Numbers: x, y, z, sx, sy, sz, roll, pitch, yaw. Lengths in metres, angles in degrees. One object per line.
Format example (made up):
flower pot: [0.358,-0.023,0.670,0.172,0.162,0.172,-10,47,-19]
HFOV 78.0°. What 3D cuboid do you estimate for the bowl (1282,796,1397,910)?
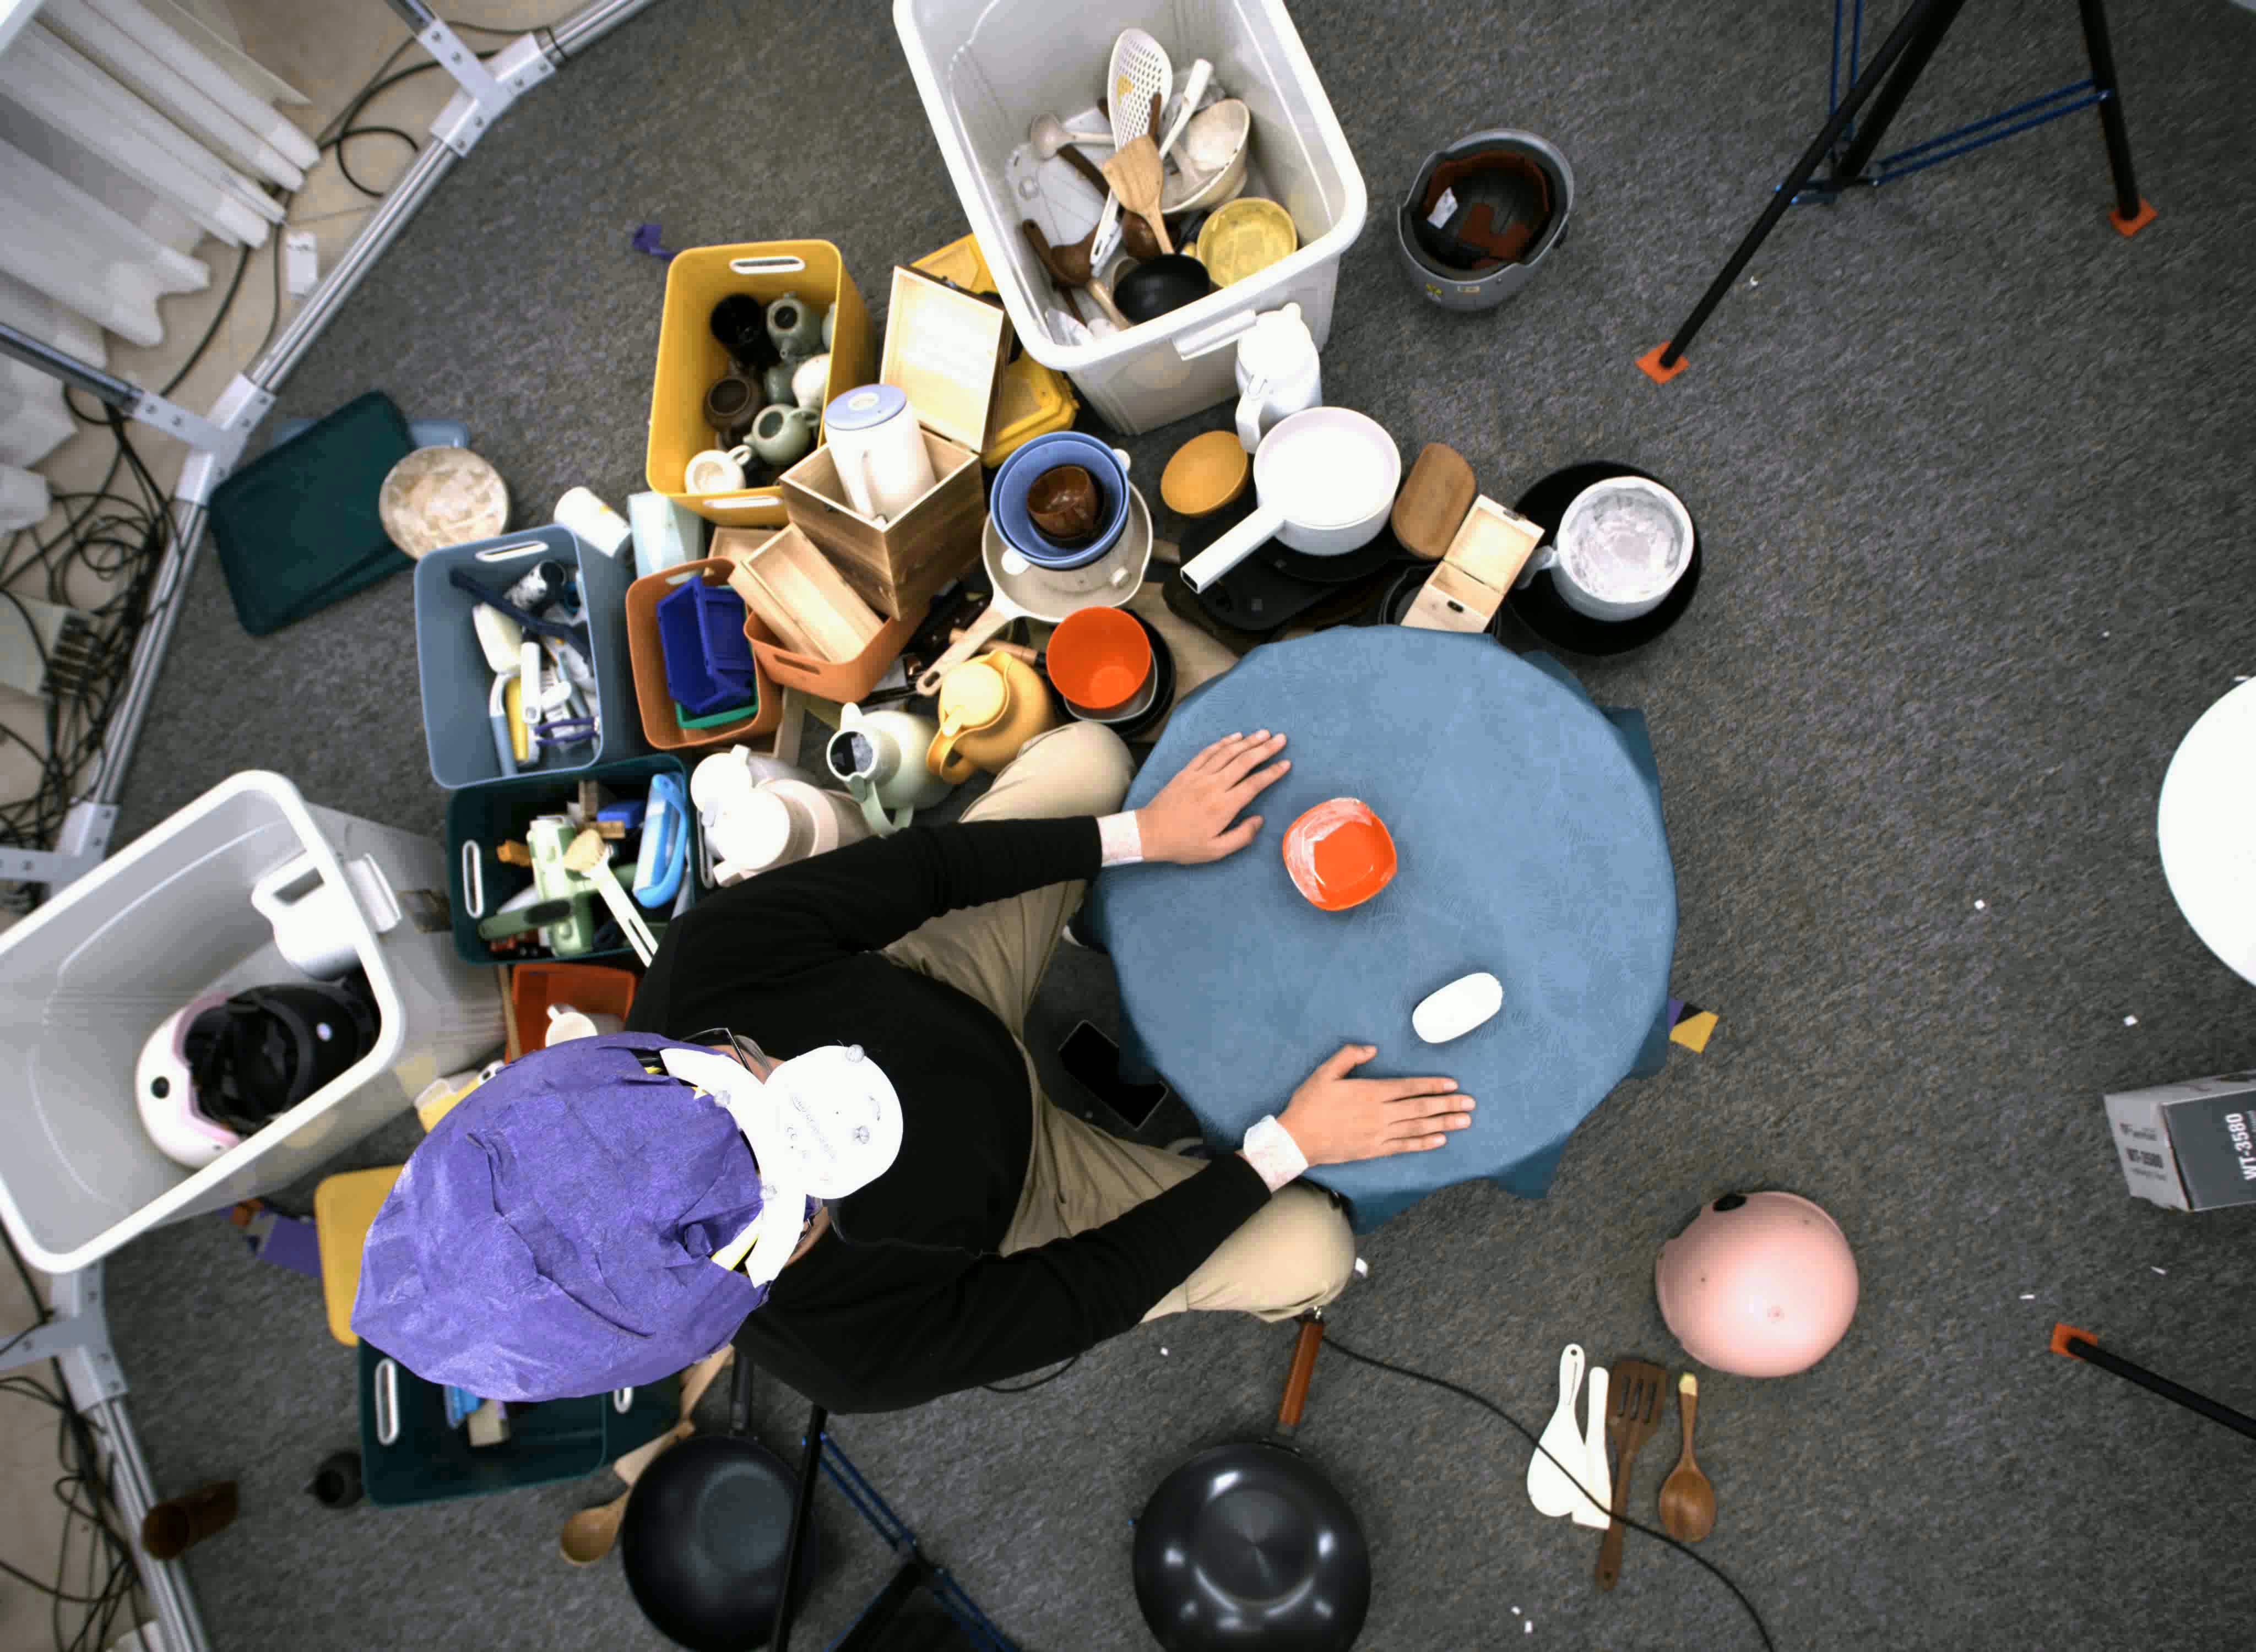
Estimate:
bowl: [0.220,0.029,1.444,0.119,0.051,0.118,0,86,6]

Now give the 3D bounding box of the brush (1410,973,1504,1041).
brush: [0.335,0.184,1.404,0.100,0.072,0.050,-27,81,7]
